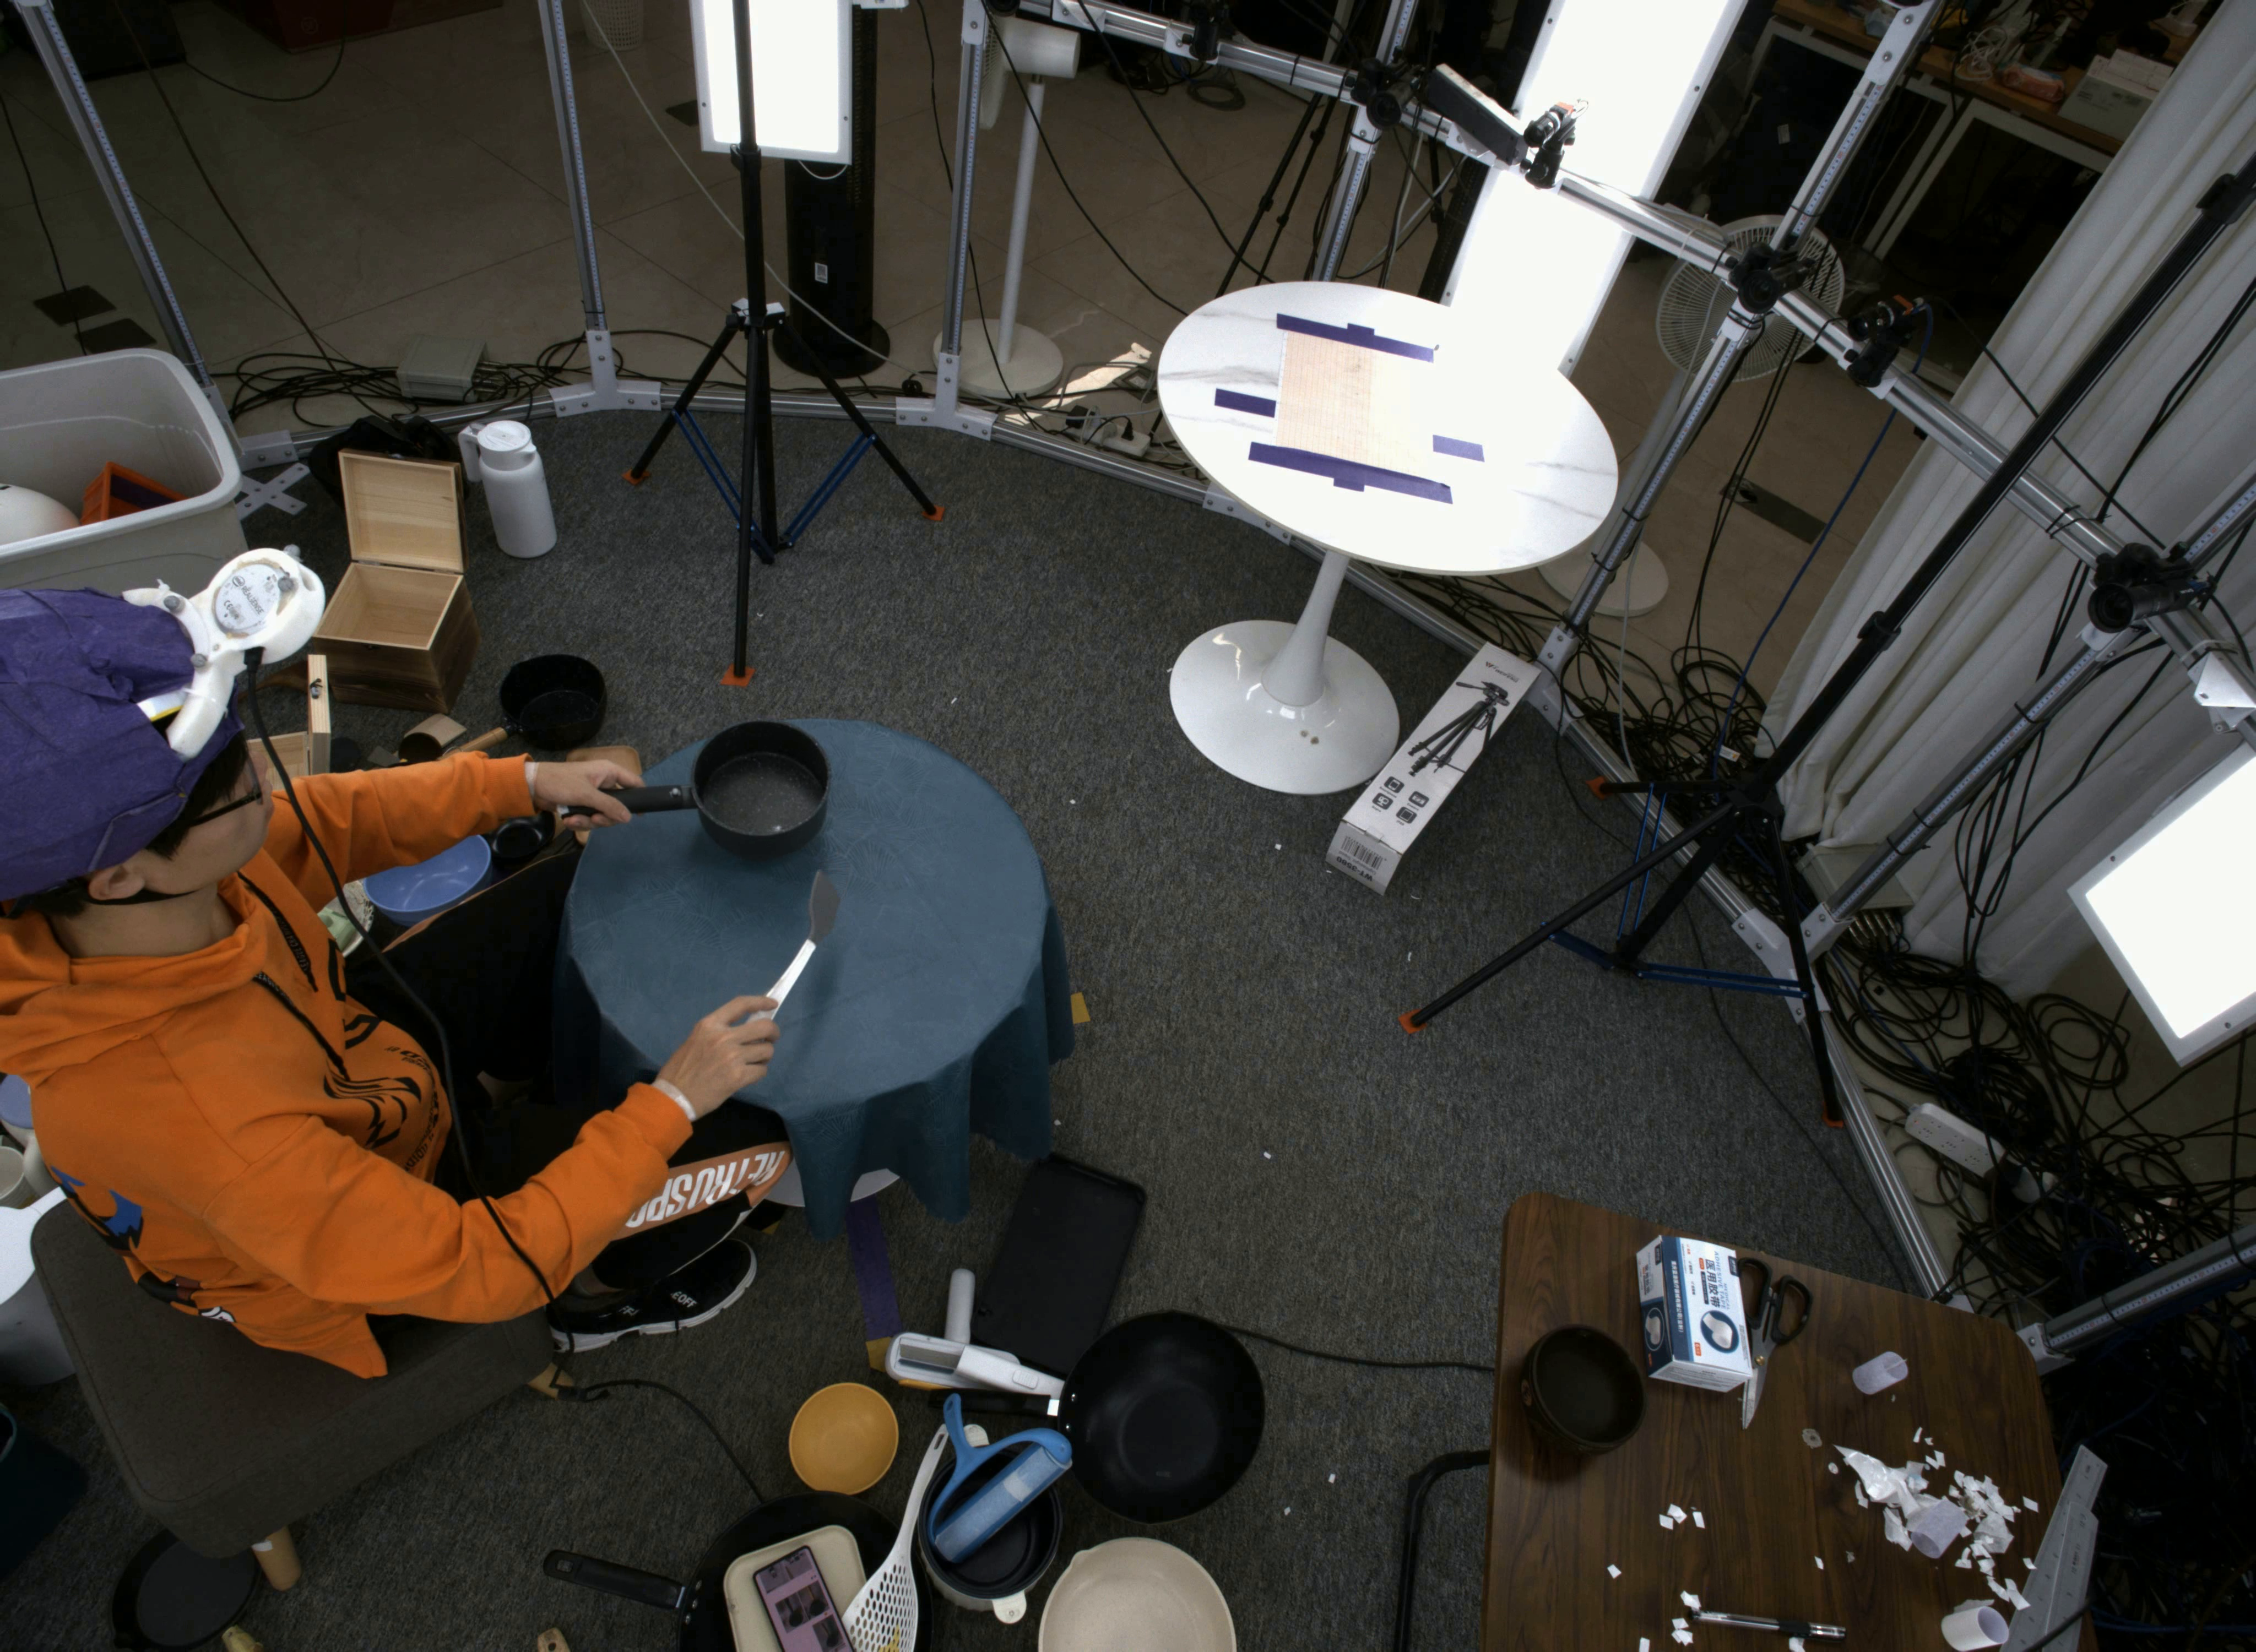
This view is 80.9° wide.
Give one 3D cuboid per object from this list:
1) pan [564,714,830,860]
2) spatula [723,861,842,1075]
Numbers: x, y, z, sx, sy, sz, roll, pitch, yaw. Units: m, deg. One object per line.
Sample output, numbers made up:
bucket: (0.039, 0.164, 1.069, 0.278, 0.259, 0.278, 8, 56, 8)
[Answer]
pan: (-0.537, -0.038, 1.596, 0.330, 0.087, 0.169, -7, 63, -21)
spatula: (-0.381, 0.153, 1.461, 0.031, 0.061, 0.284, -12, 39, 28)
